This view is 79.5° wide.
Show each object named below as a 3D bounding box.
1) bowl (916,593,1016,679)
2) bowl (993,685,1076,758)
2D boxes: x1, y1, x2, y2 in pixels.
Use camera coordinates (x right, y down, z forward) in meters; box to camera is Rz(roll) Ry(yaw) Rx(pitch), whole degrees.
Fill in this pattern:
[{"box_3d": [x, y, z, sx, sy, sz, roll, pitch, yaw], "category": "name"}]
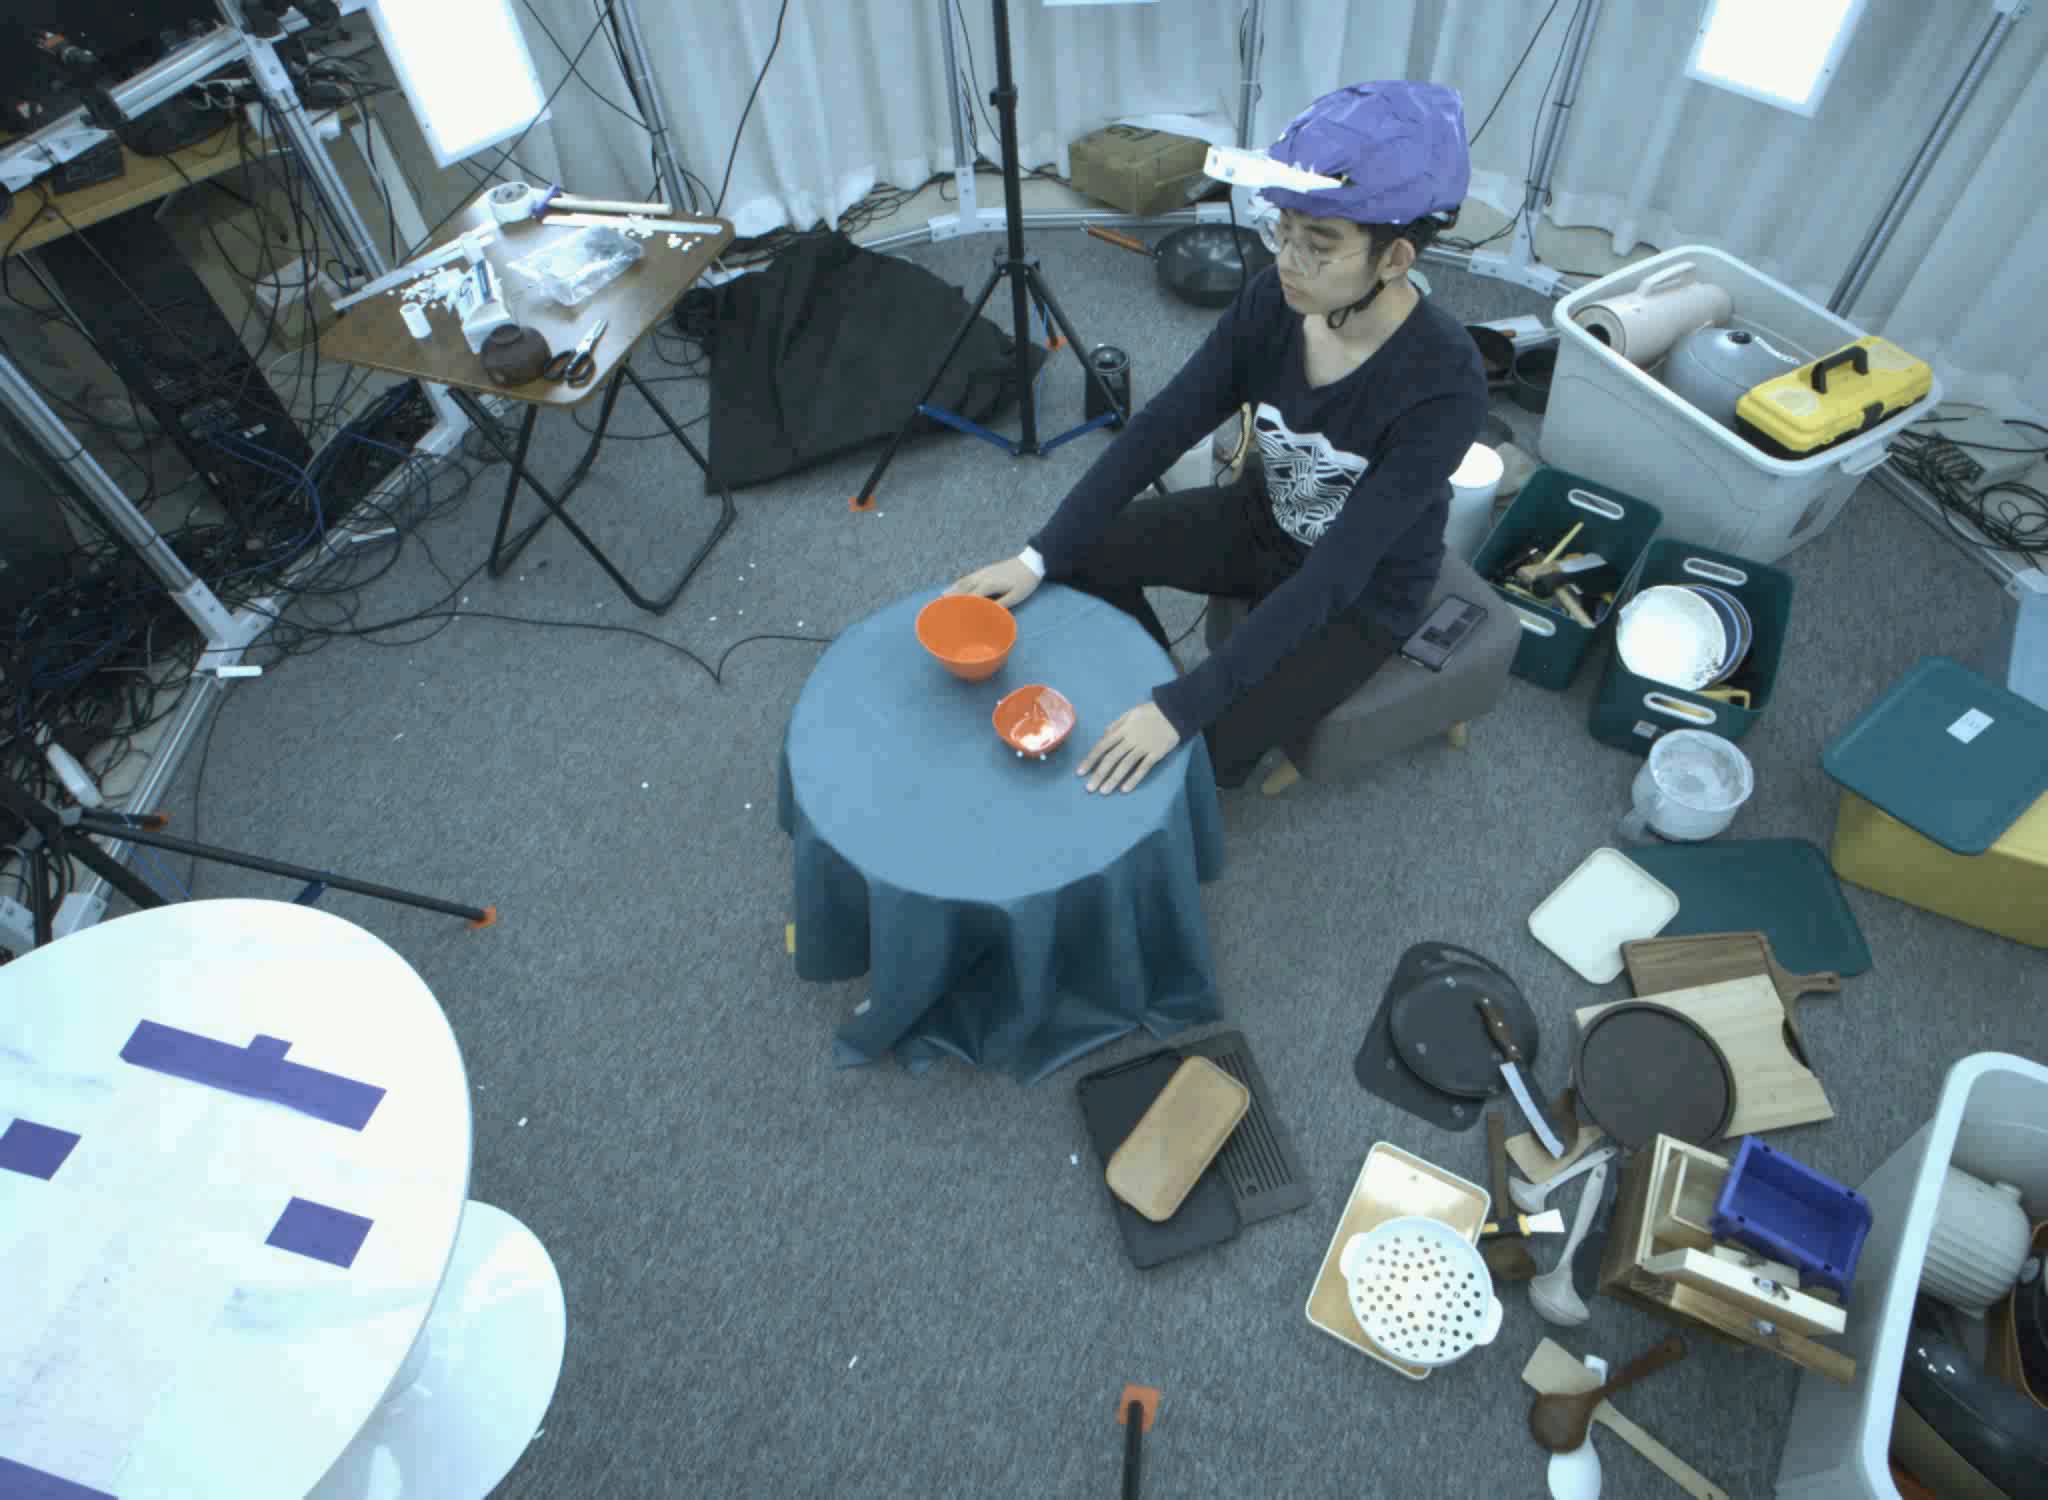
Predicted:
[{"box_3d": [-0.085, -0.159, 1.849, 0.148, 0.106, 0.146, -1, 54, 2], "category": "bowl"}, {"box_3d": [0.016, -0.034, 1.789, 0.119, 0.052, 0.117, 0, 52, 2], "category": "bowl"}]
